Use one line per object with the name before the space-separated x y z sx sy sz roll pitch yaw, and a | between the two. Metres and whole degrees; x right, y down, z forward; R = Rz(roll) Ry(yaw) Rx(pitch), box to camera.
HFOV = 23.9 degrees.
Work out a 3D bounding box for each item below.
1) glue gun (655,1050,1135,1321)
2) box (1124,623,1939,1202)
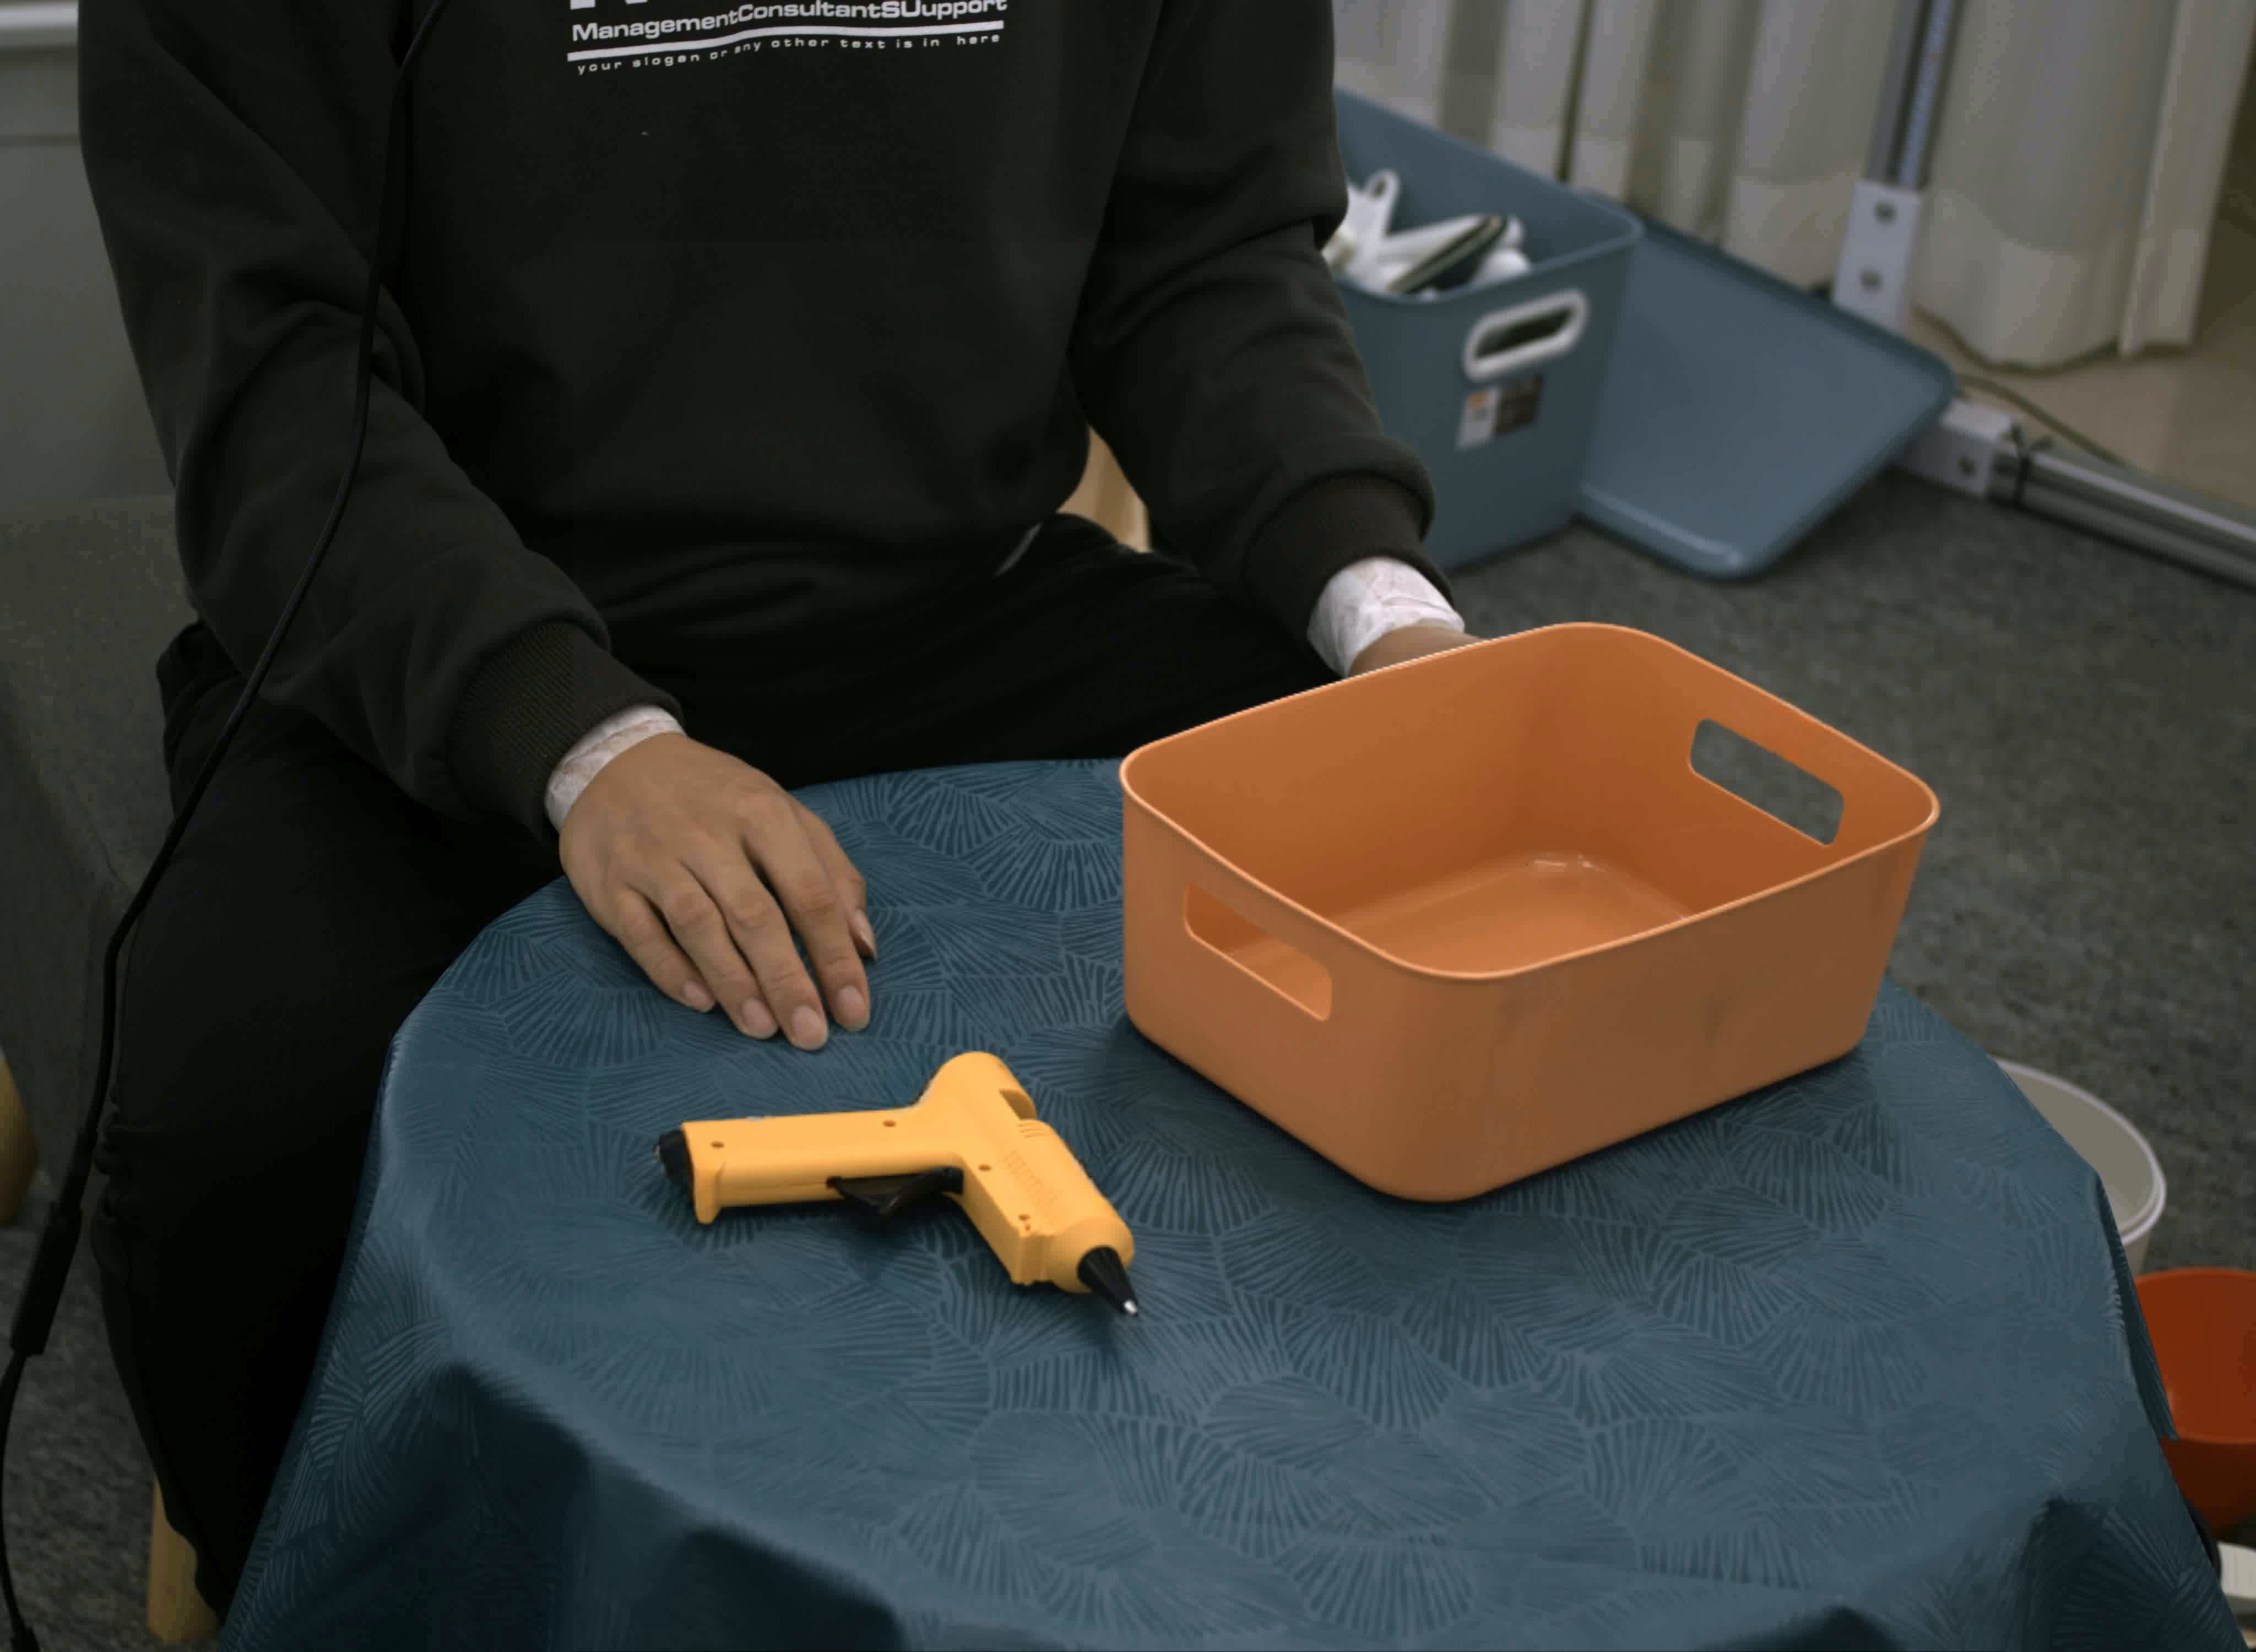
glue gun | -0.068 0.130 1.755 0.132 0.031 0.153 -10 32 -26
box | 0.139 0.030 1.915 0.272 0.102 0.201 -18 35 -38
